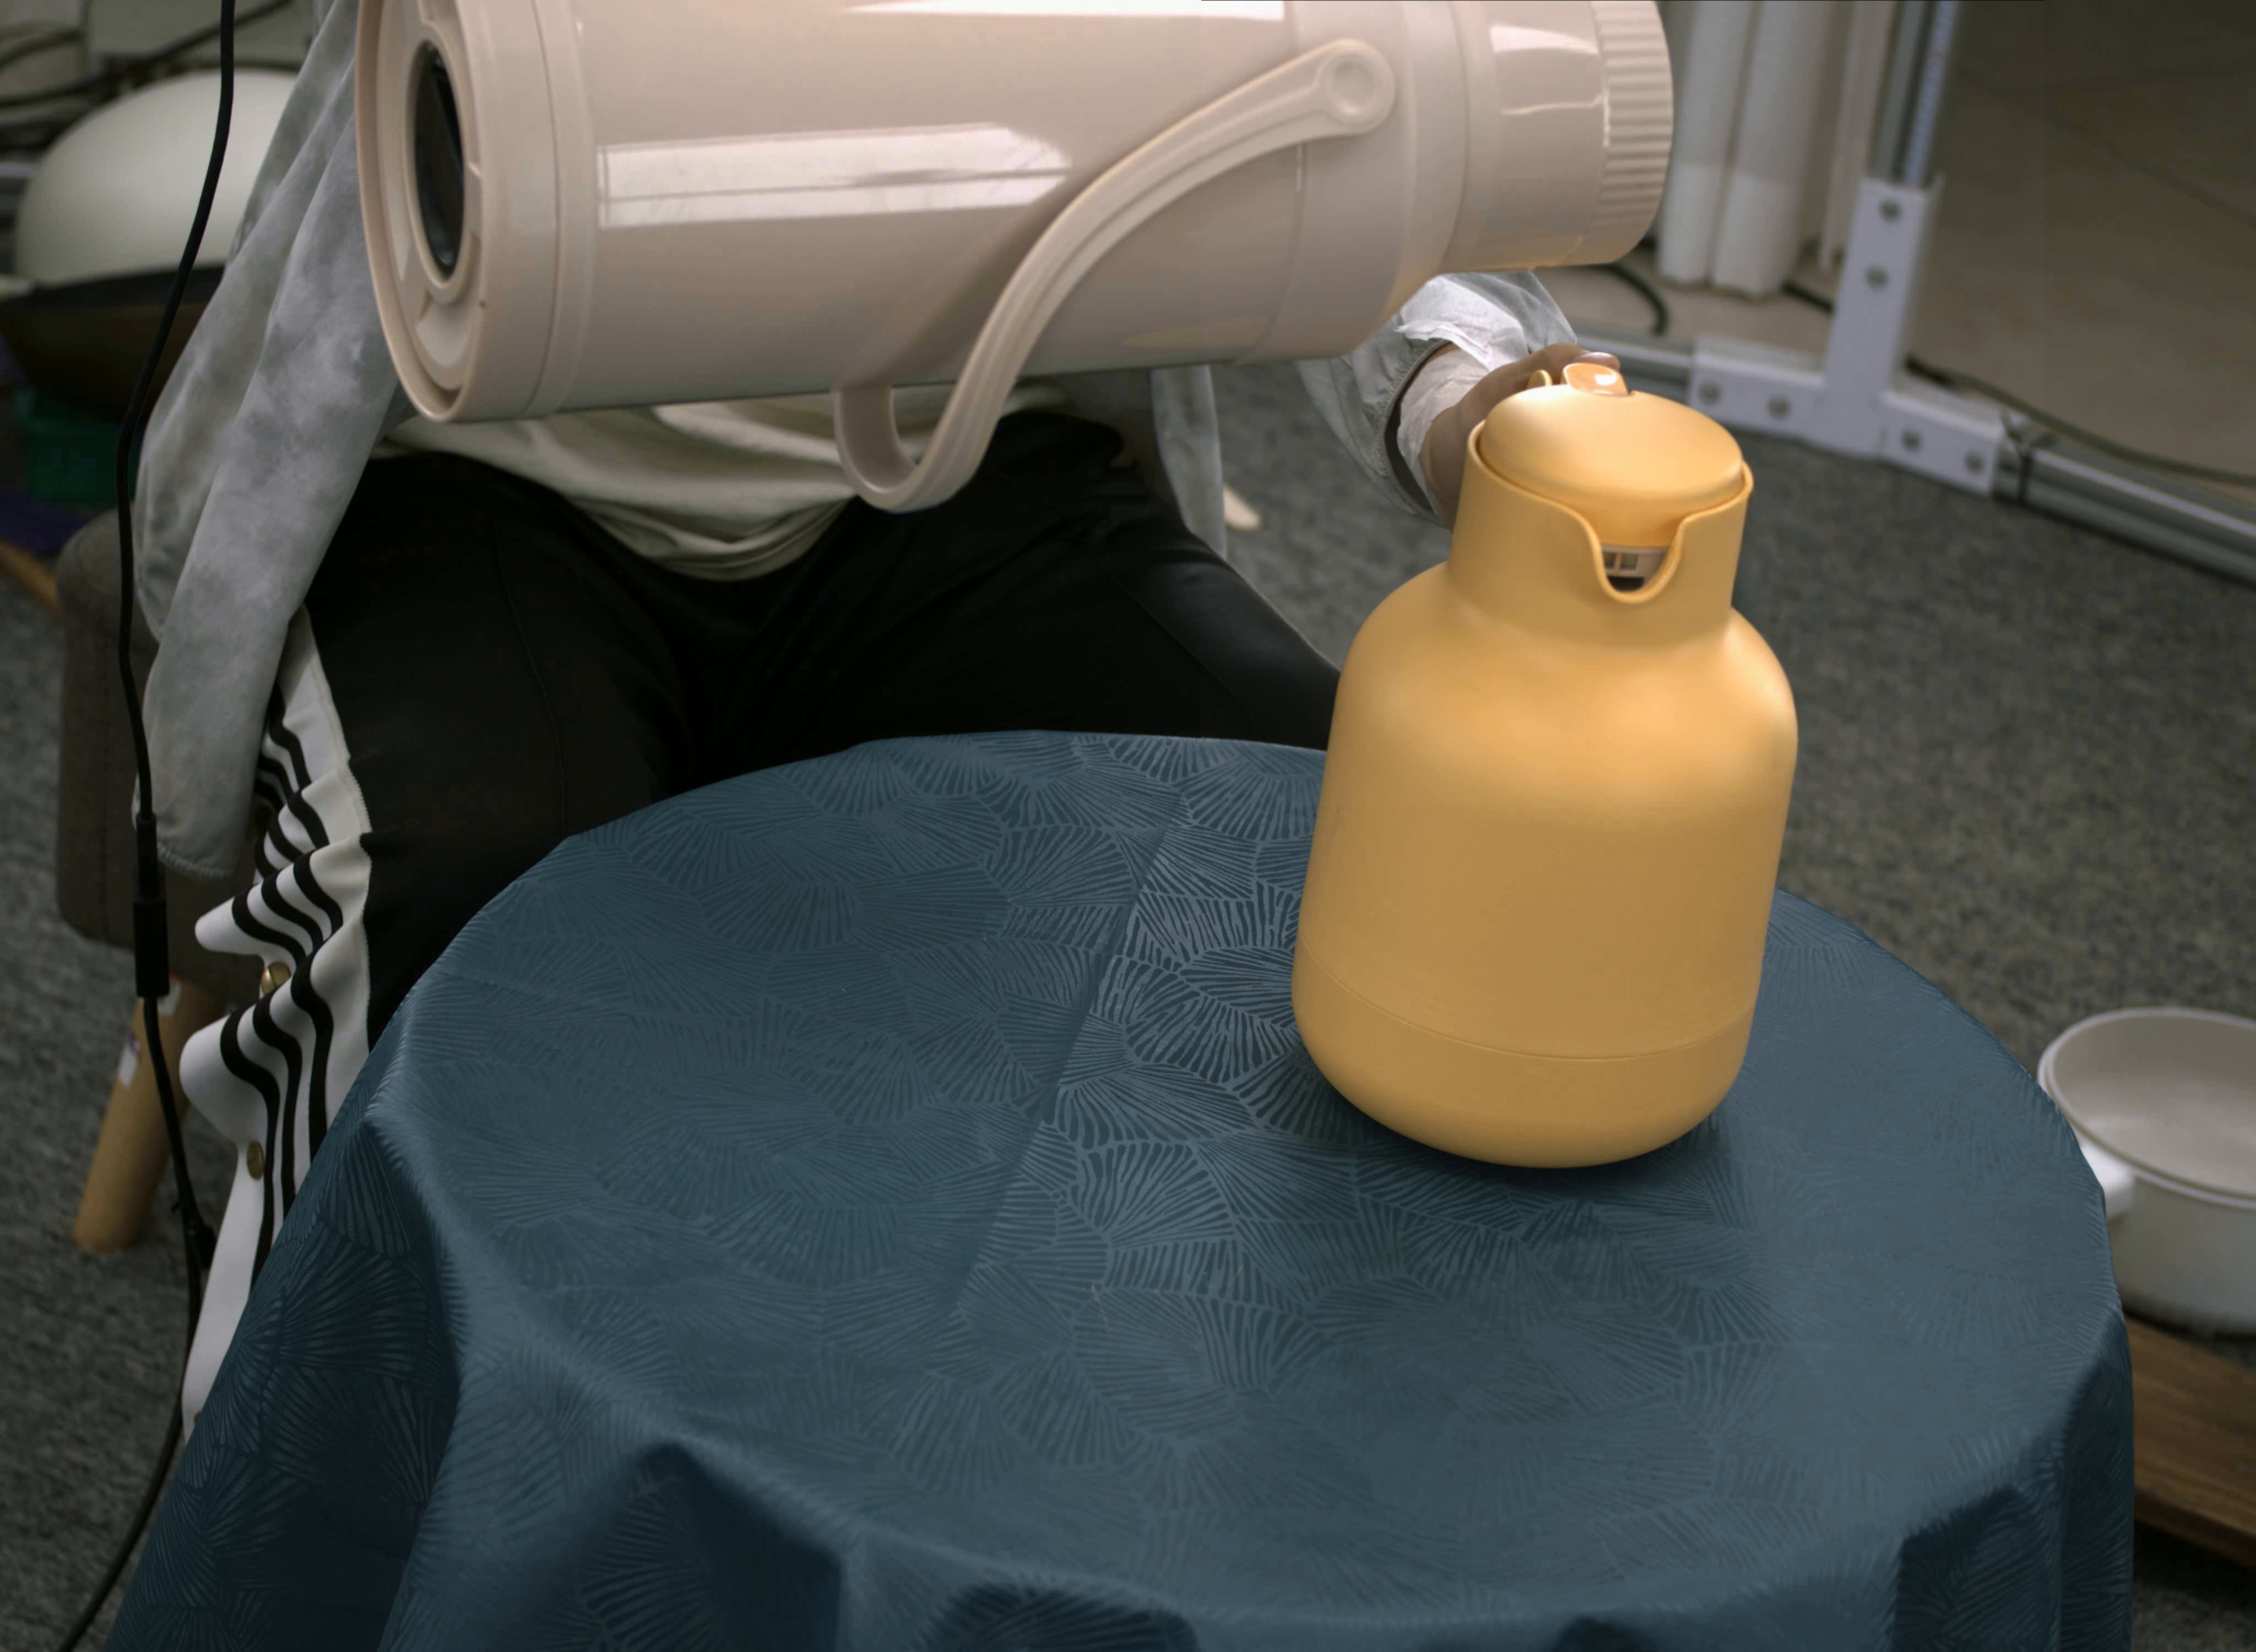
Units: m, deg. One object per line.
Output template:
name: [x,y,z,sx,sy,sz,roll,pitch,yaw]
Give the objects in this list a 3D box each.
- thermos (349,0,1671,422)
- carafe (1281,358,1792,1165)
thermos: [-0.034,-0.235,1.679,0.404,0.207,0.176,-5,1,-19]
carafe: [0.148,-0.031,1.856,0.163,0.259,0.203,7,27,-4]
